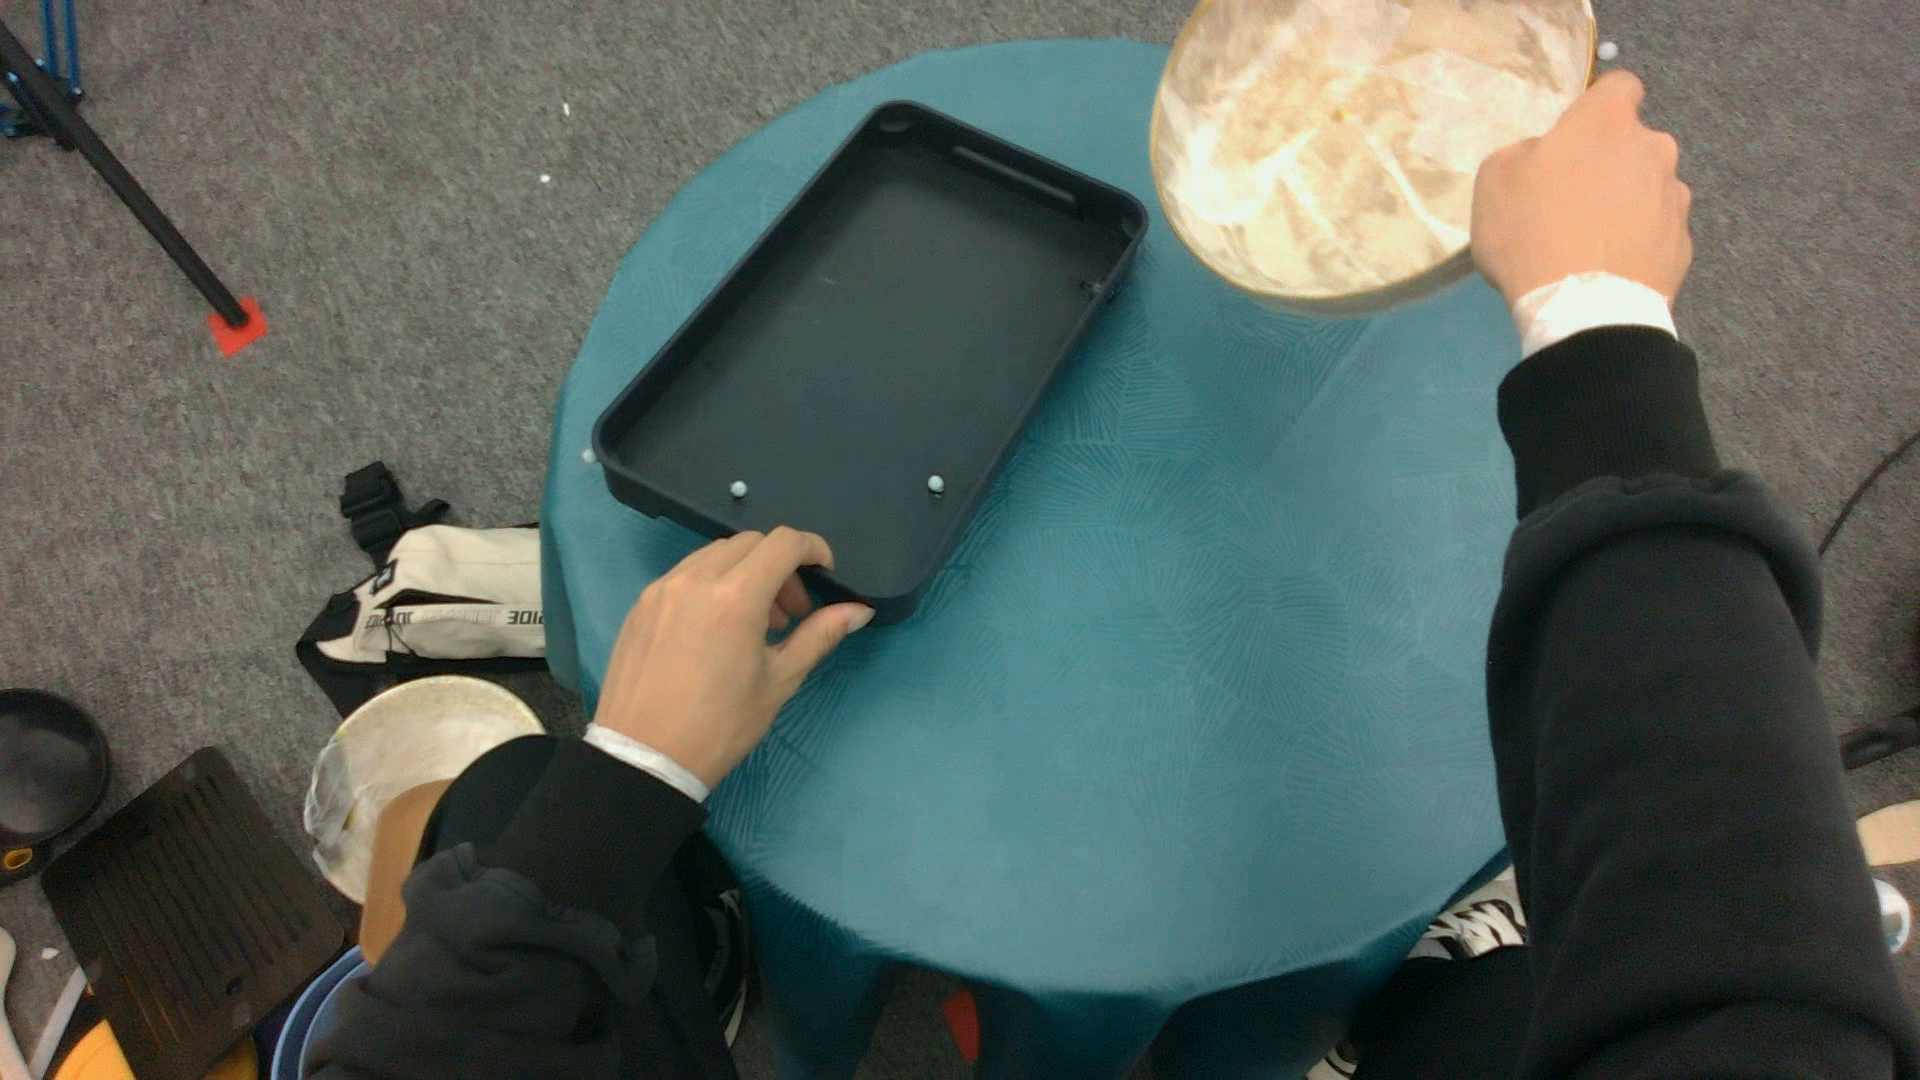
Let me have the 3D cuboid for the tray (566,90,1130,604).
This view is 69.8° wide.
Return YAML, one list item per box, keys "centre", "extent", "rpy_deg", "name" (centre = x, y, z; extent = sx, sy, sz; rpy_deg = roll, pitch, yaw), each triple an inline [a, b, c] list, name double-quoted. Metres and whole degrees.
- centre: [-0.049, -0.120, 0.749]
  extent: [0.184, 0.037, 0.319]
  rpy_deg: [26, 56, 11]
  name: "tray"

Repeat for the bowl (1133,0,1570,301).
- centre: [0.191, -0.201, 0.672]
  extent: [0.214, 0.094, 0.215]
  rpy_deg: [-9, 73, 30]
  name: "bowl"
